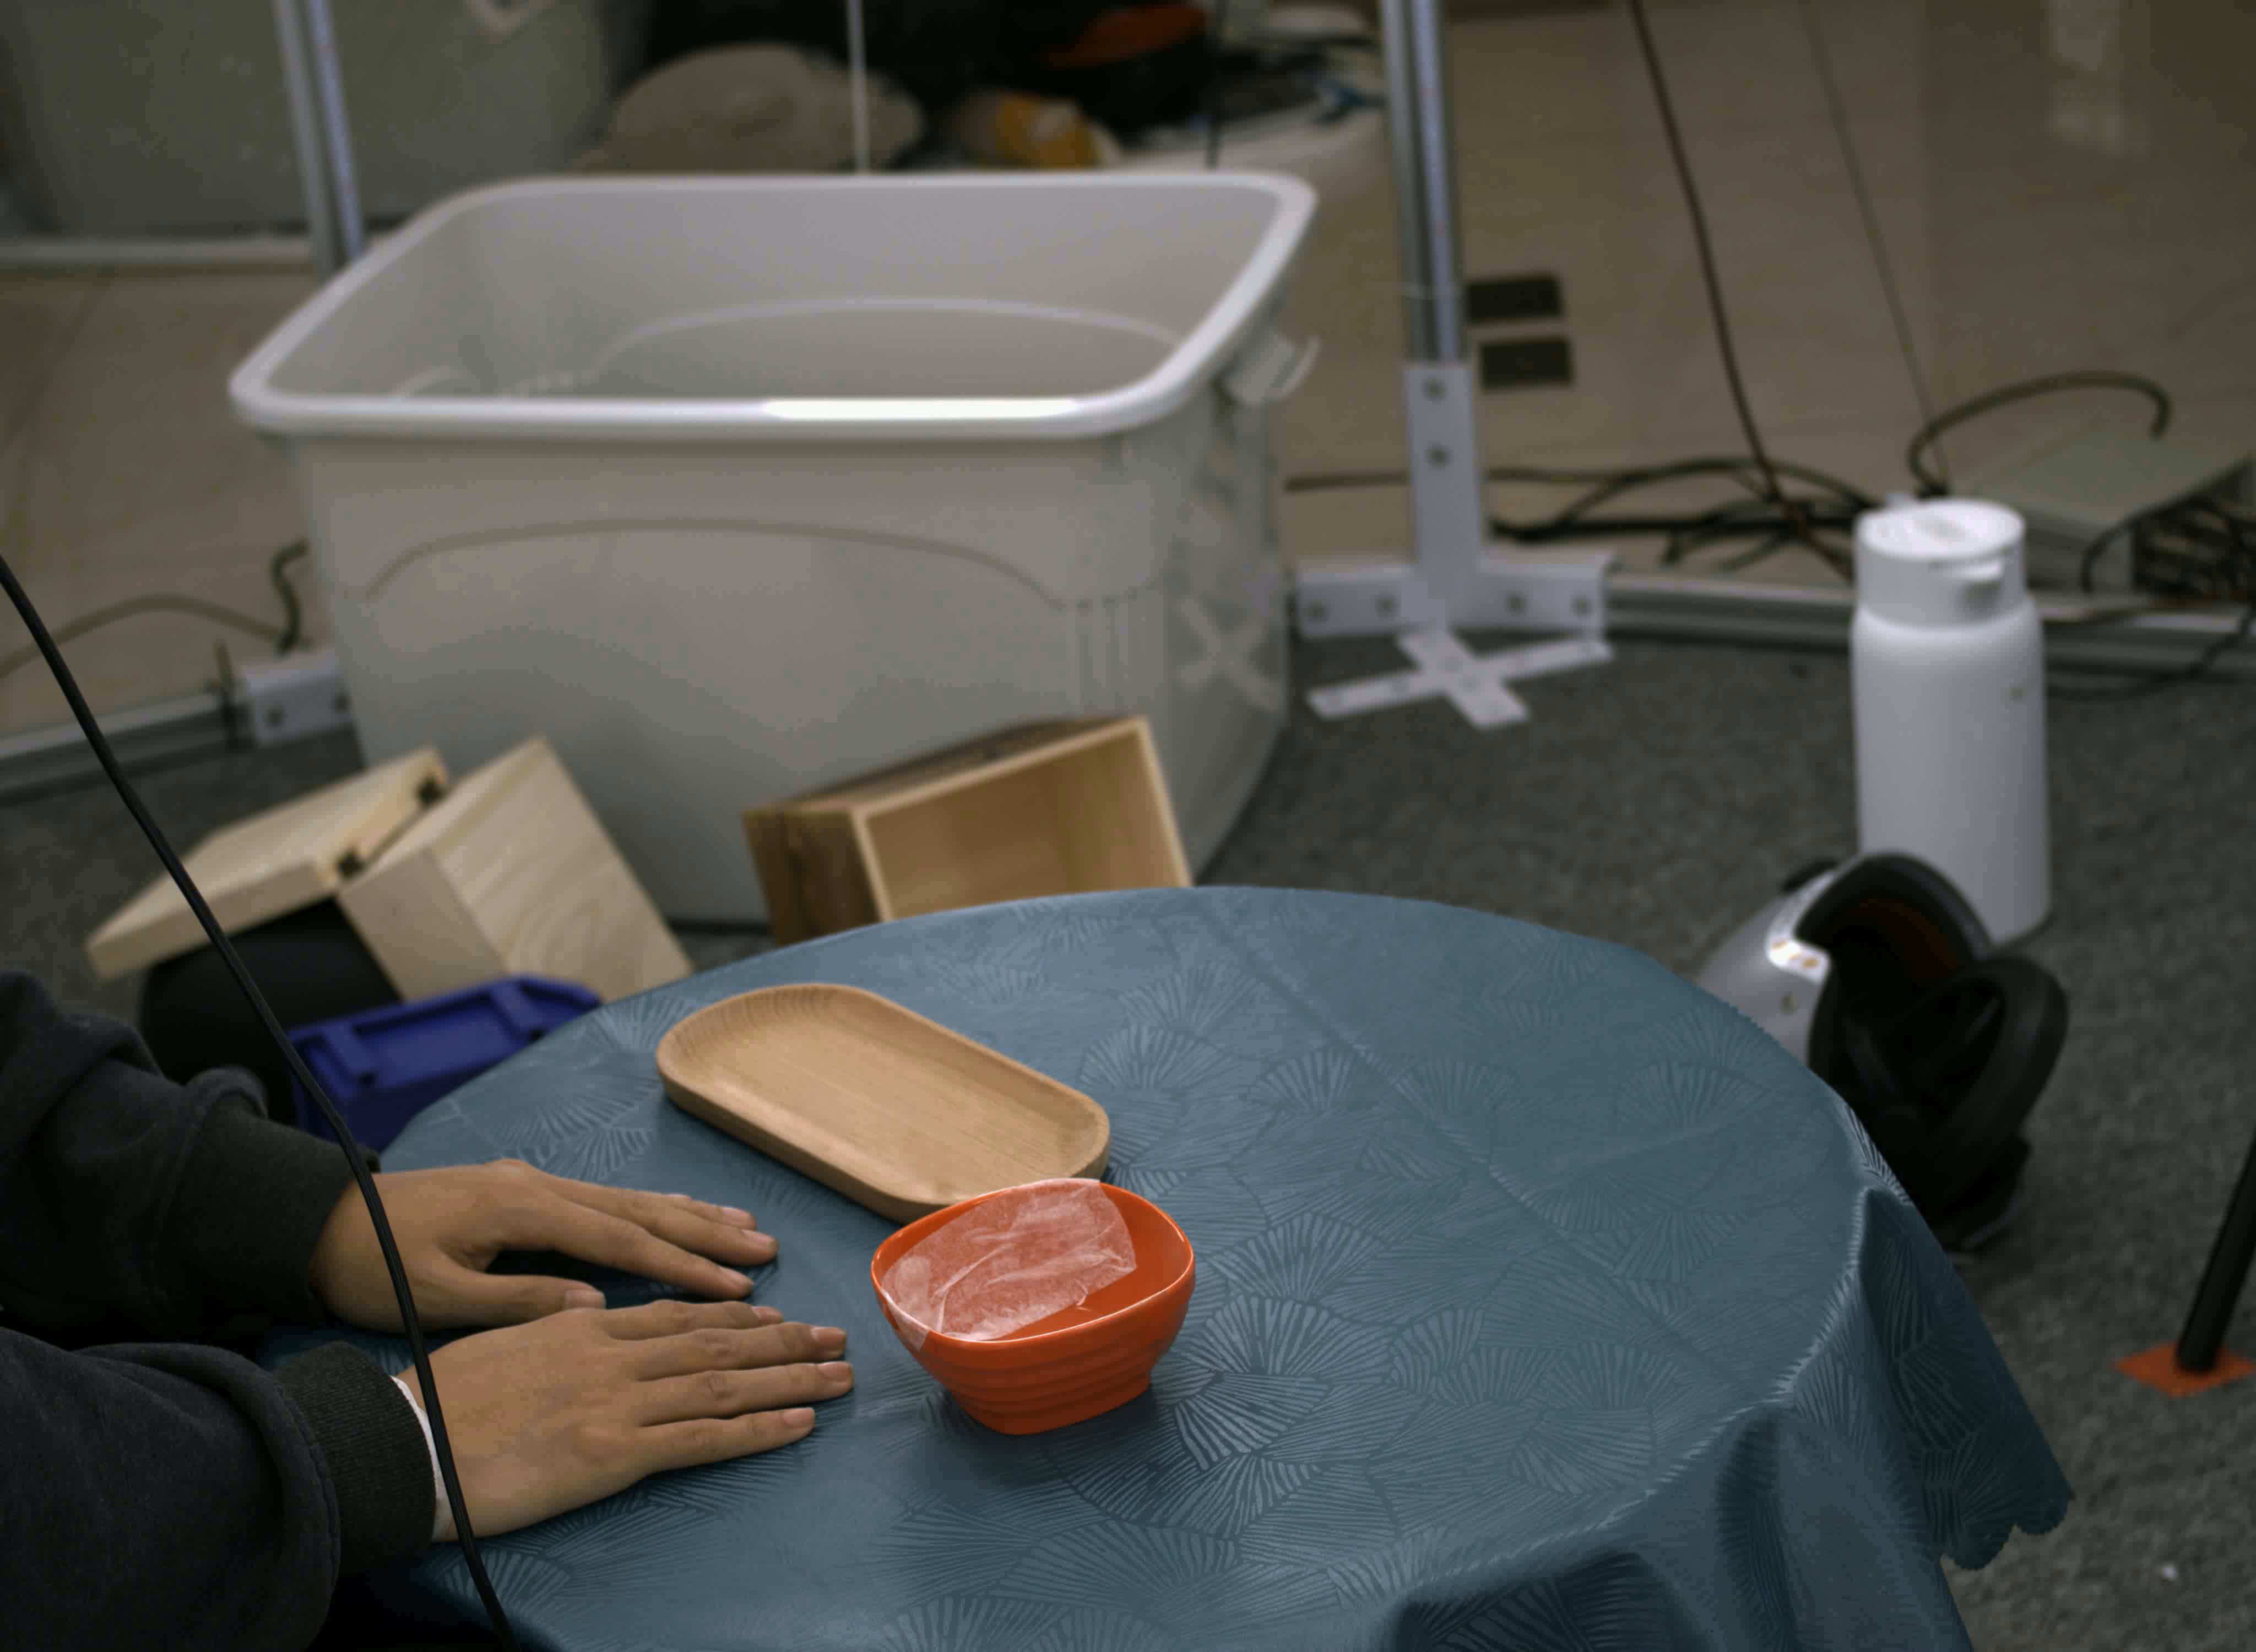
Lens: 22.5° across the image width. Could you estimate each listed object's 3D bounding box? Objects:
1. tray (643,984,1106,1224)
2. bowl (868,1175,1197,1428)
[{"bbox_3d":[-0.100,0.109,2.217,0.101,0.020,0.229,-24,29,-34],"label":"tray"},{"bbox_3d":[-0.032,0.173,2.015,0.119,0.052,0.117,-3,25,2],"label":"bowl"}]
